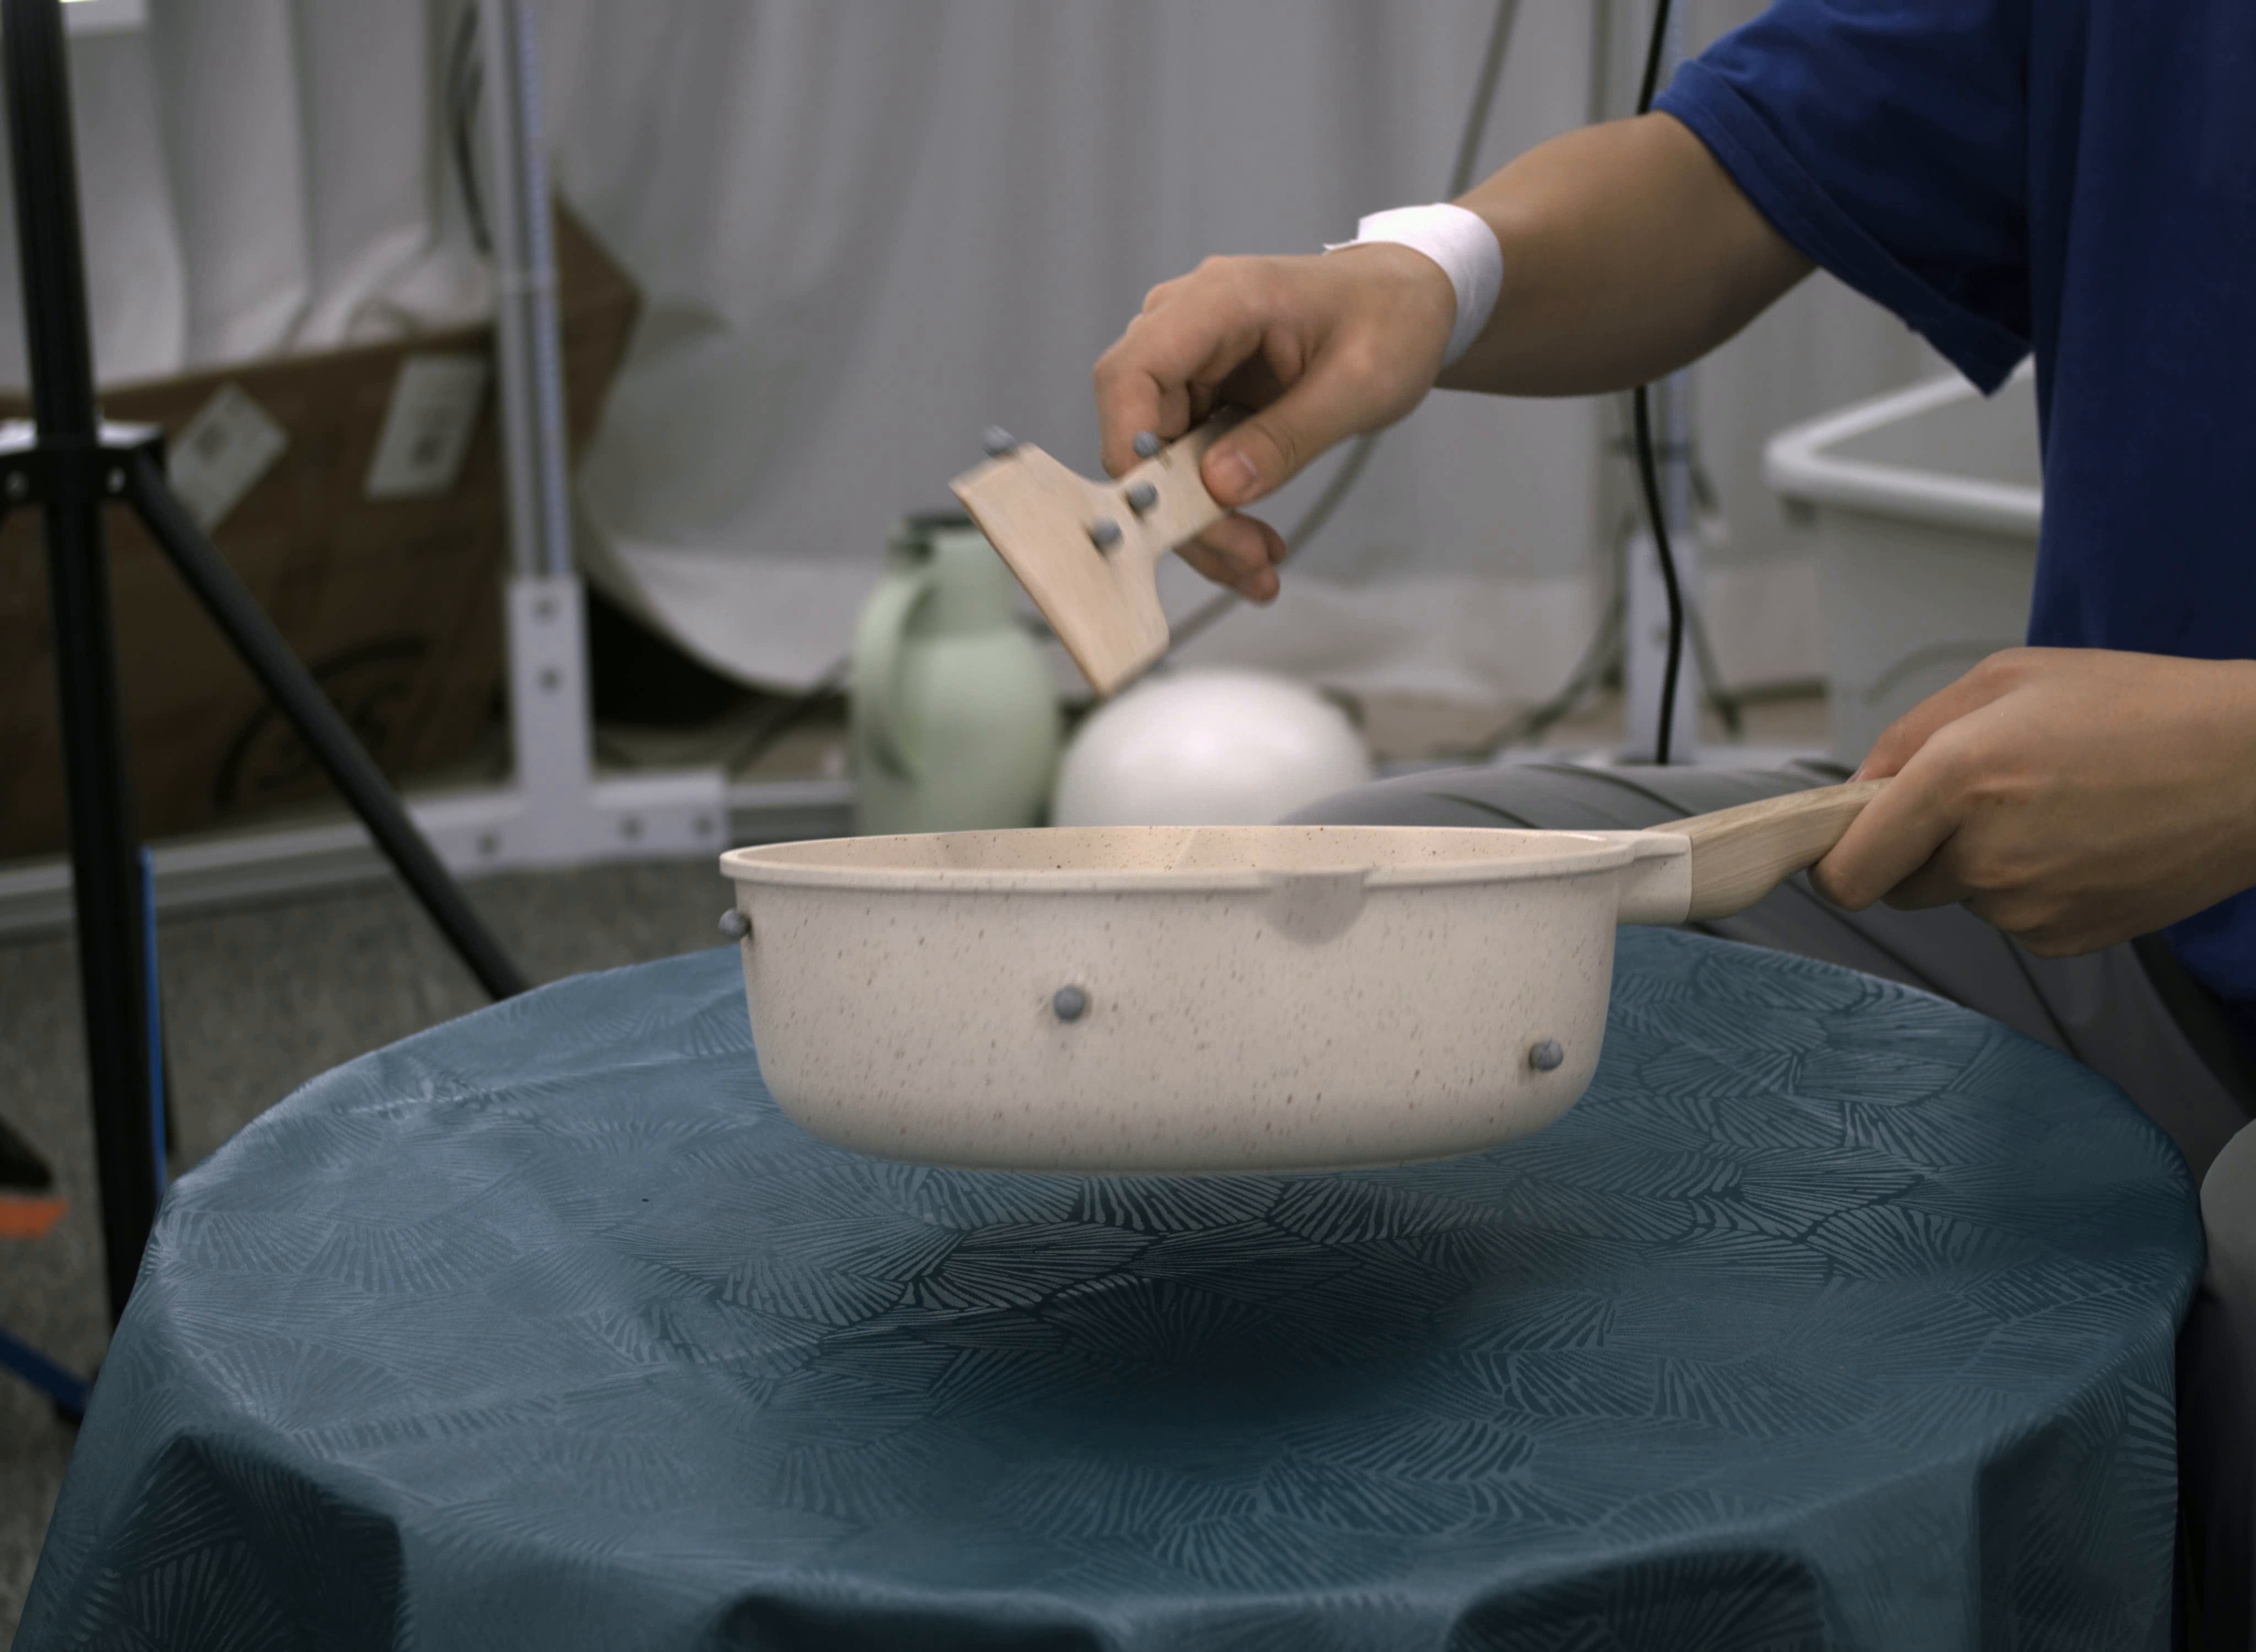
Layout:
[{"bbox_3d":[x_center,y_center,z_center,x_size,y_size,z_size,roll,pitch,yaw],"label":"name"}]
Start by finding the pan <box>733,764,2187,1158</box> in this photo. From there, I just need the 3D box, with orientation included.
[{"bbox_3d":[0.104,0.036,1.477,0.427,0.102,0.266,0,0,-16],"label":"pan"}]

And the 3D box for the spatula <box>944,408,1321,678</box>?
[{"bbox_3d":[0.009,-0.096,1.563,0.011,0.072,0.289,-33,0,21],"label":"spatula"}]
